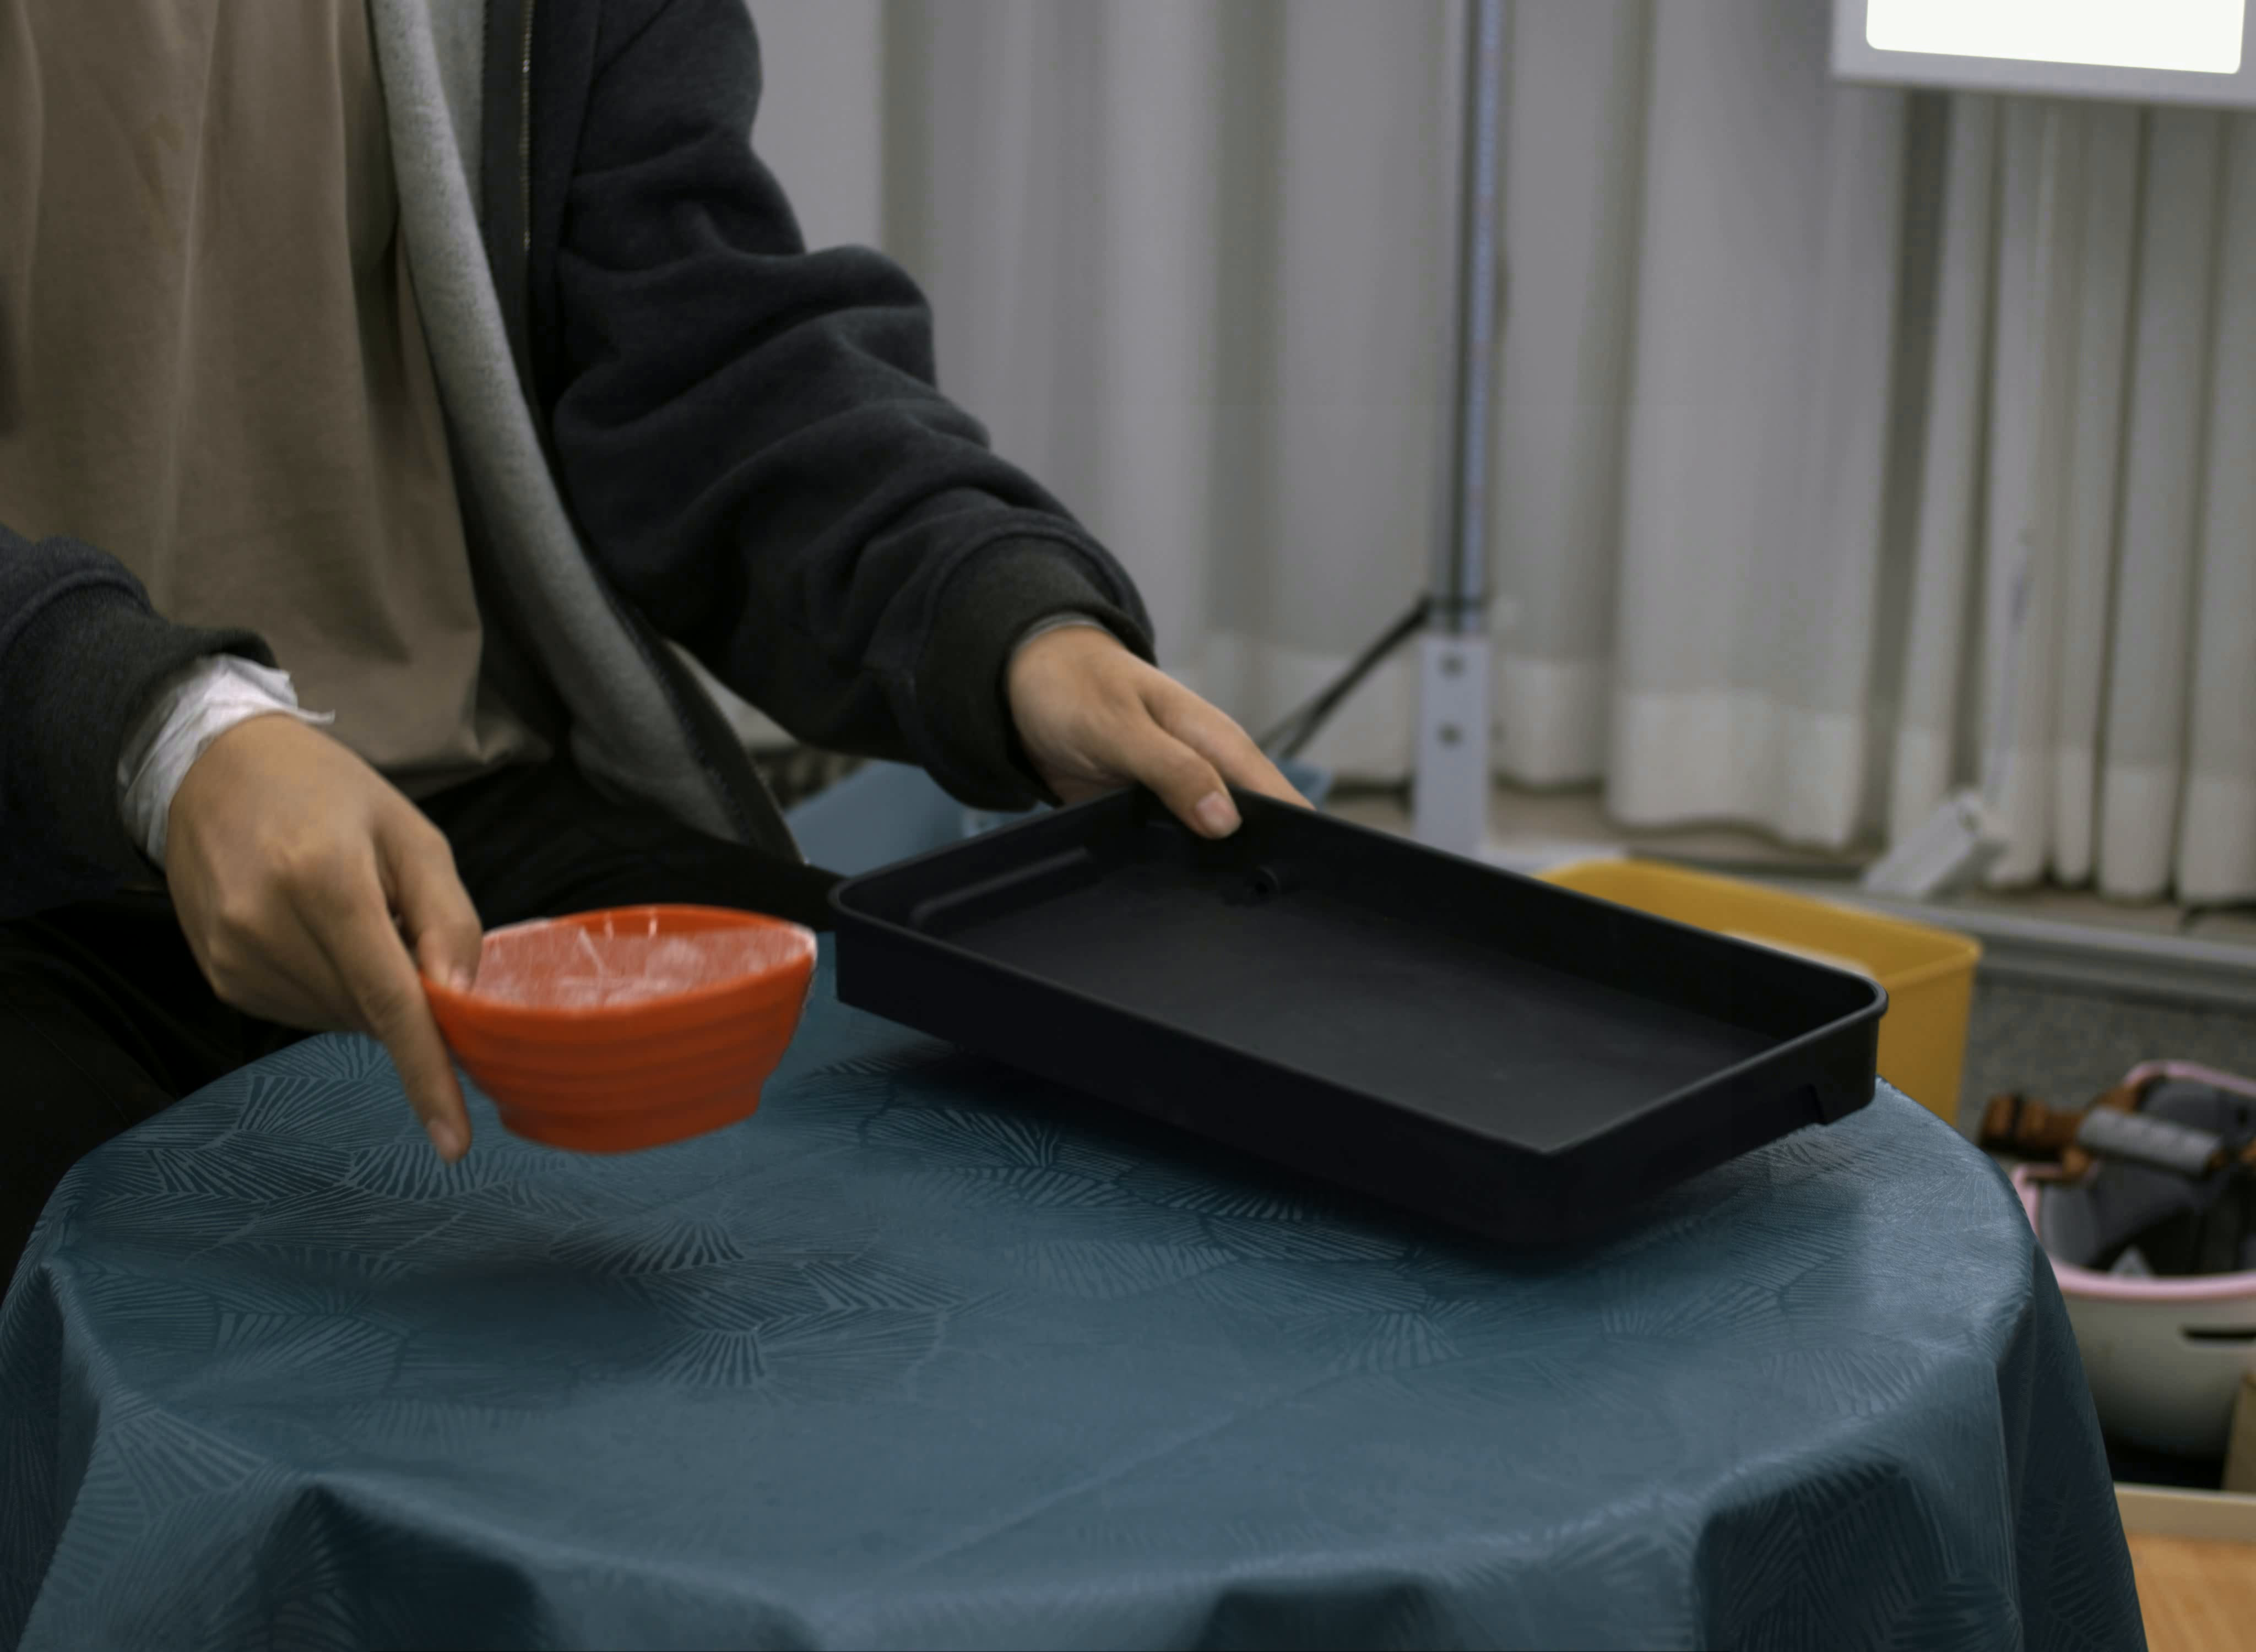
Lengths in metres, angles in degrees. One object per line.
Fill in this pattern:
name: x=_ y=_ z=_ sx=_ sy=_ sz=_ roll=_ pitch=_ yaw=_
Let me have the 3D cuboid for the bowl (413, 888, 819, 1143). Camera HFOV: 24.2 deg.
bowl: x=-0.147 y=0.057 z=1.538 sx=0.118 sy=0.052 sz=0.118 roll=-4 pitch=14 yaw=2

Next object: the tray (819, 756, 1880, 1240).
tray: x=0.067 y=0.049 z=1.688 sx=0.313 sy=0.037 sz=0.185 roll=19 pitch=26 yaw=39
